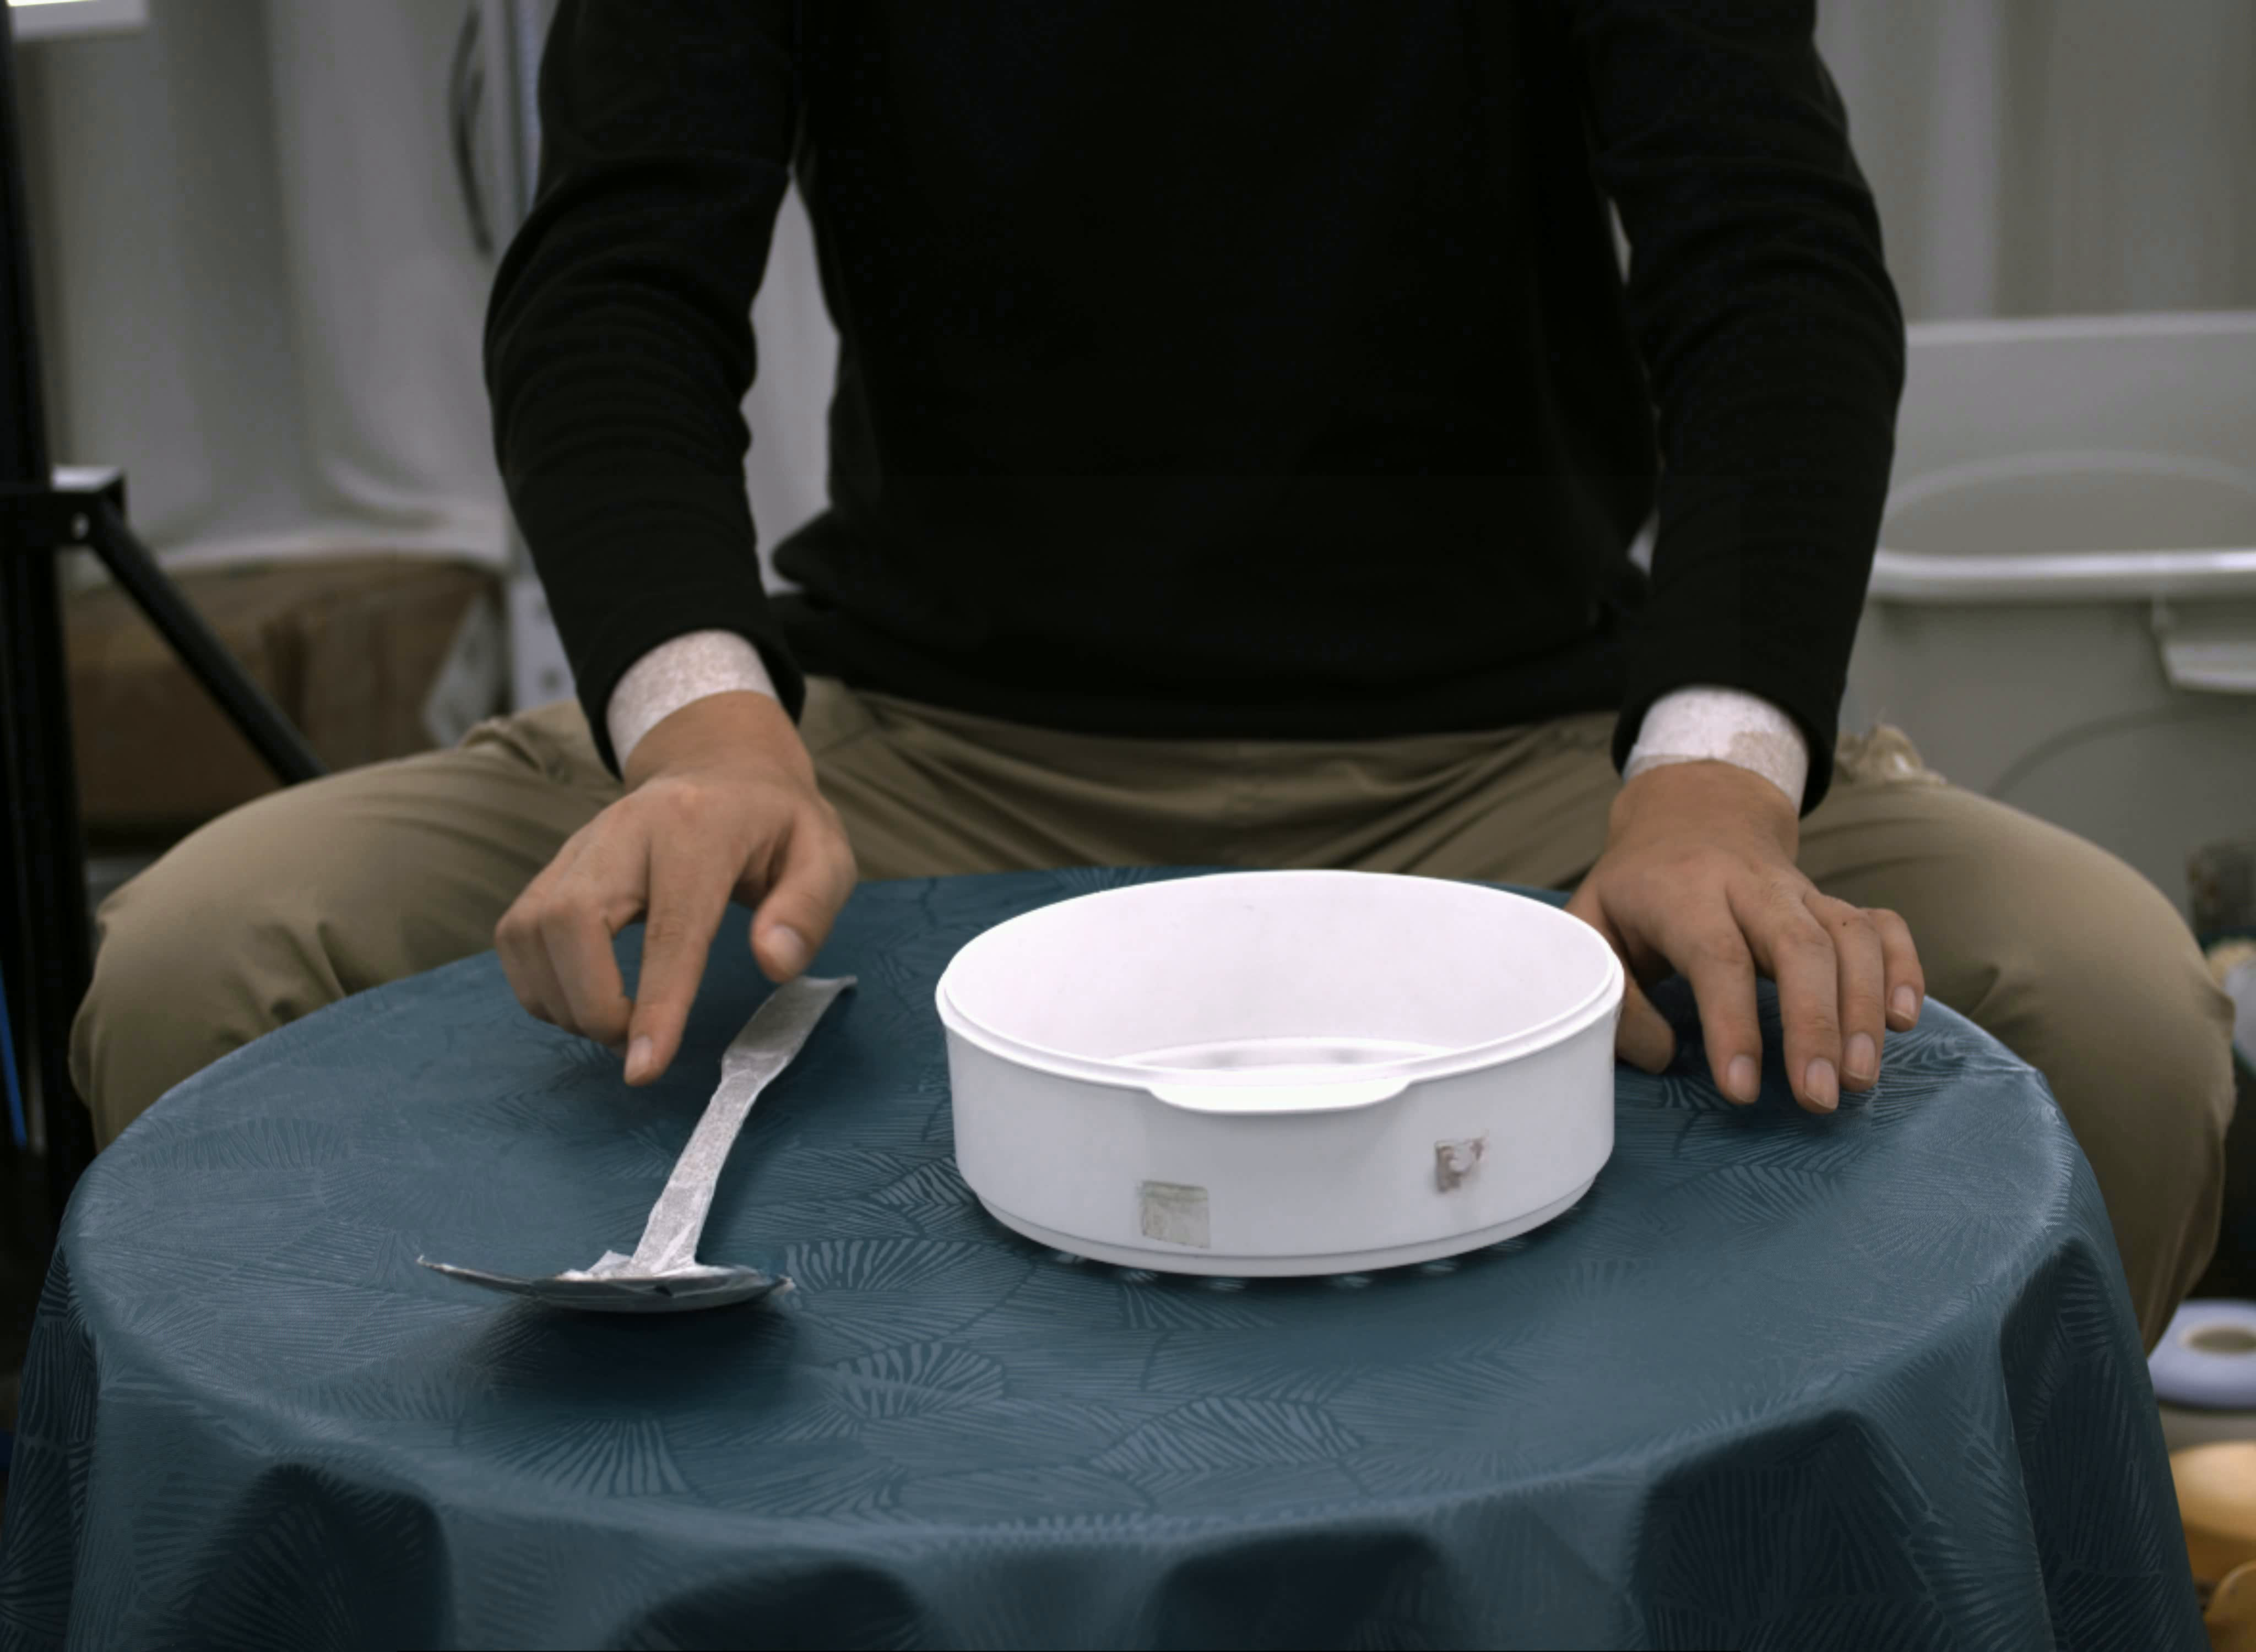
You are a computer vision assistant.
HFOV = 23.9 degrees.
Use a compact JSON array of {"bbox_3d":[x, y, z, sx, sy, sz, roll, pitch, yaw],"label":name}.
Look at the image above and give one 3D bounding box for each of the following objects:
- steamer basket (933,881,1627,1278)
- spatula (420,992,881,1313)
[{"bbox_3d":[0.044,0.073,1.546,0.201,0.069,0.231,0,14,3],"label":"steamer basket"},{"bbox_3d":[-0.119,0.088,1.580,0.099,0.045,0.364,-2,16,9],"label":"spatula"}]
